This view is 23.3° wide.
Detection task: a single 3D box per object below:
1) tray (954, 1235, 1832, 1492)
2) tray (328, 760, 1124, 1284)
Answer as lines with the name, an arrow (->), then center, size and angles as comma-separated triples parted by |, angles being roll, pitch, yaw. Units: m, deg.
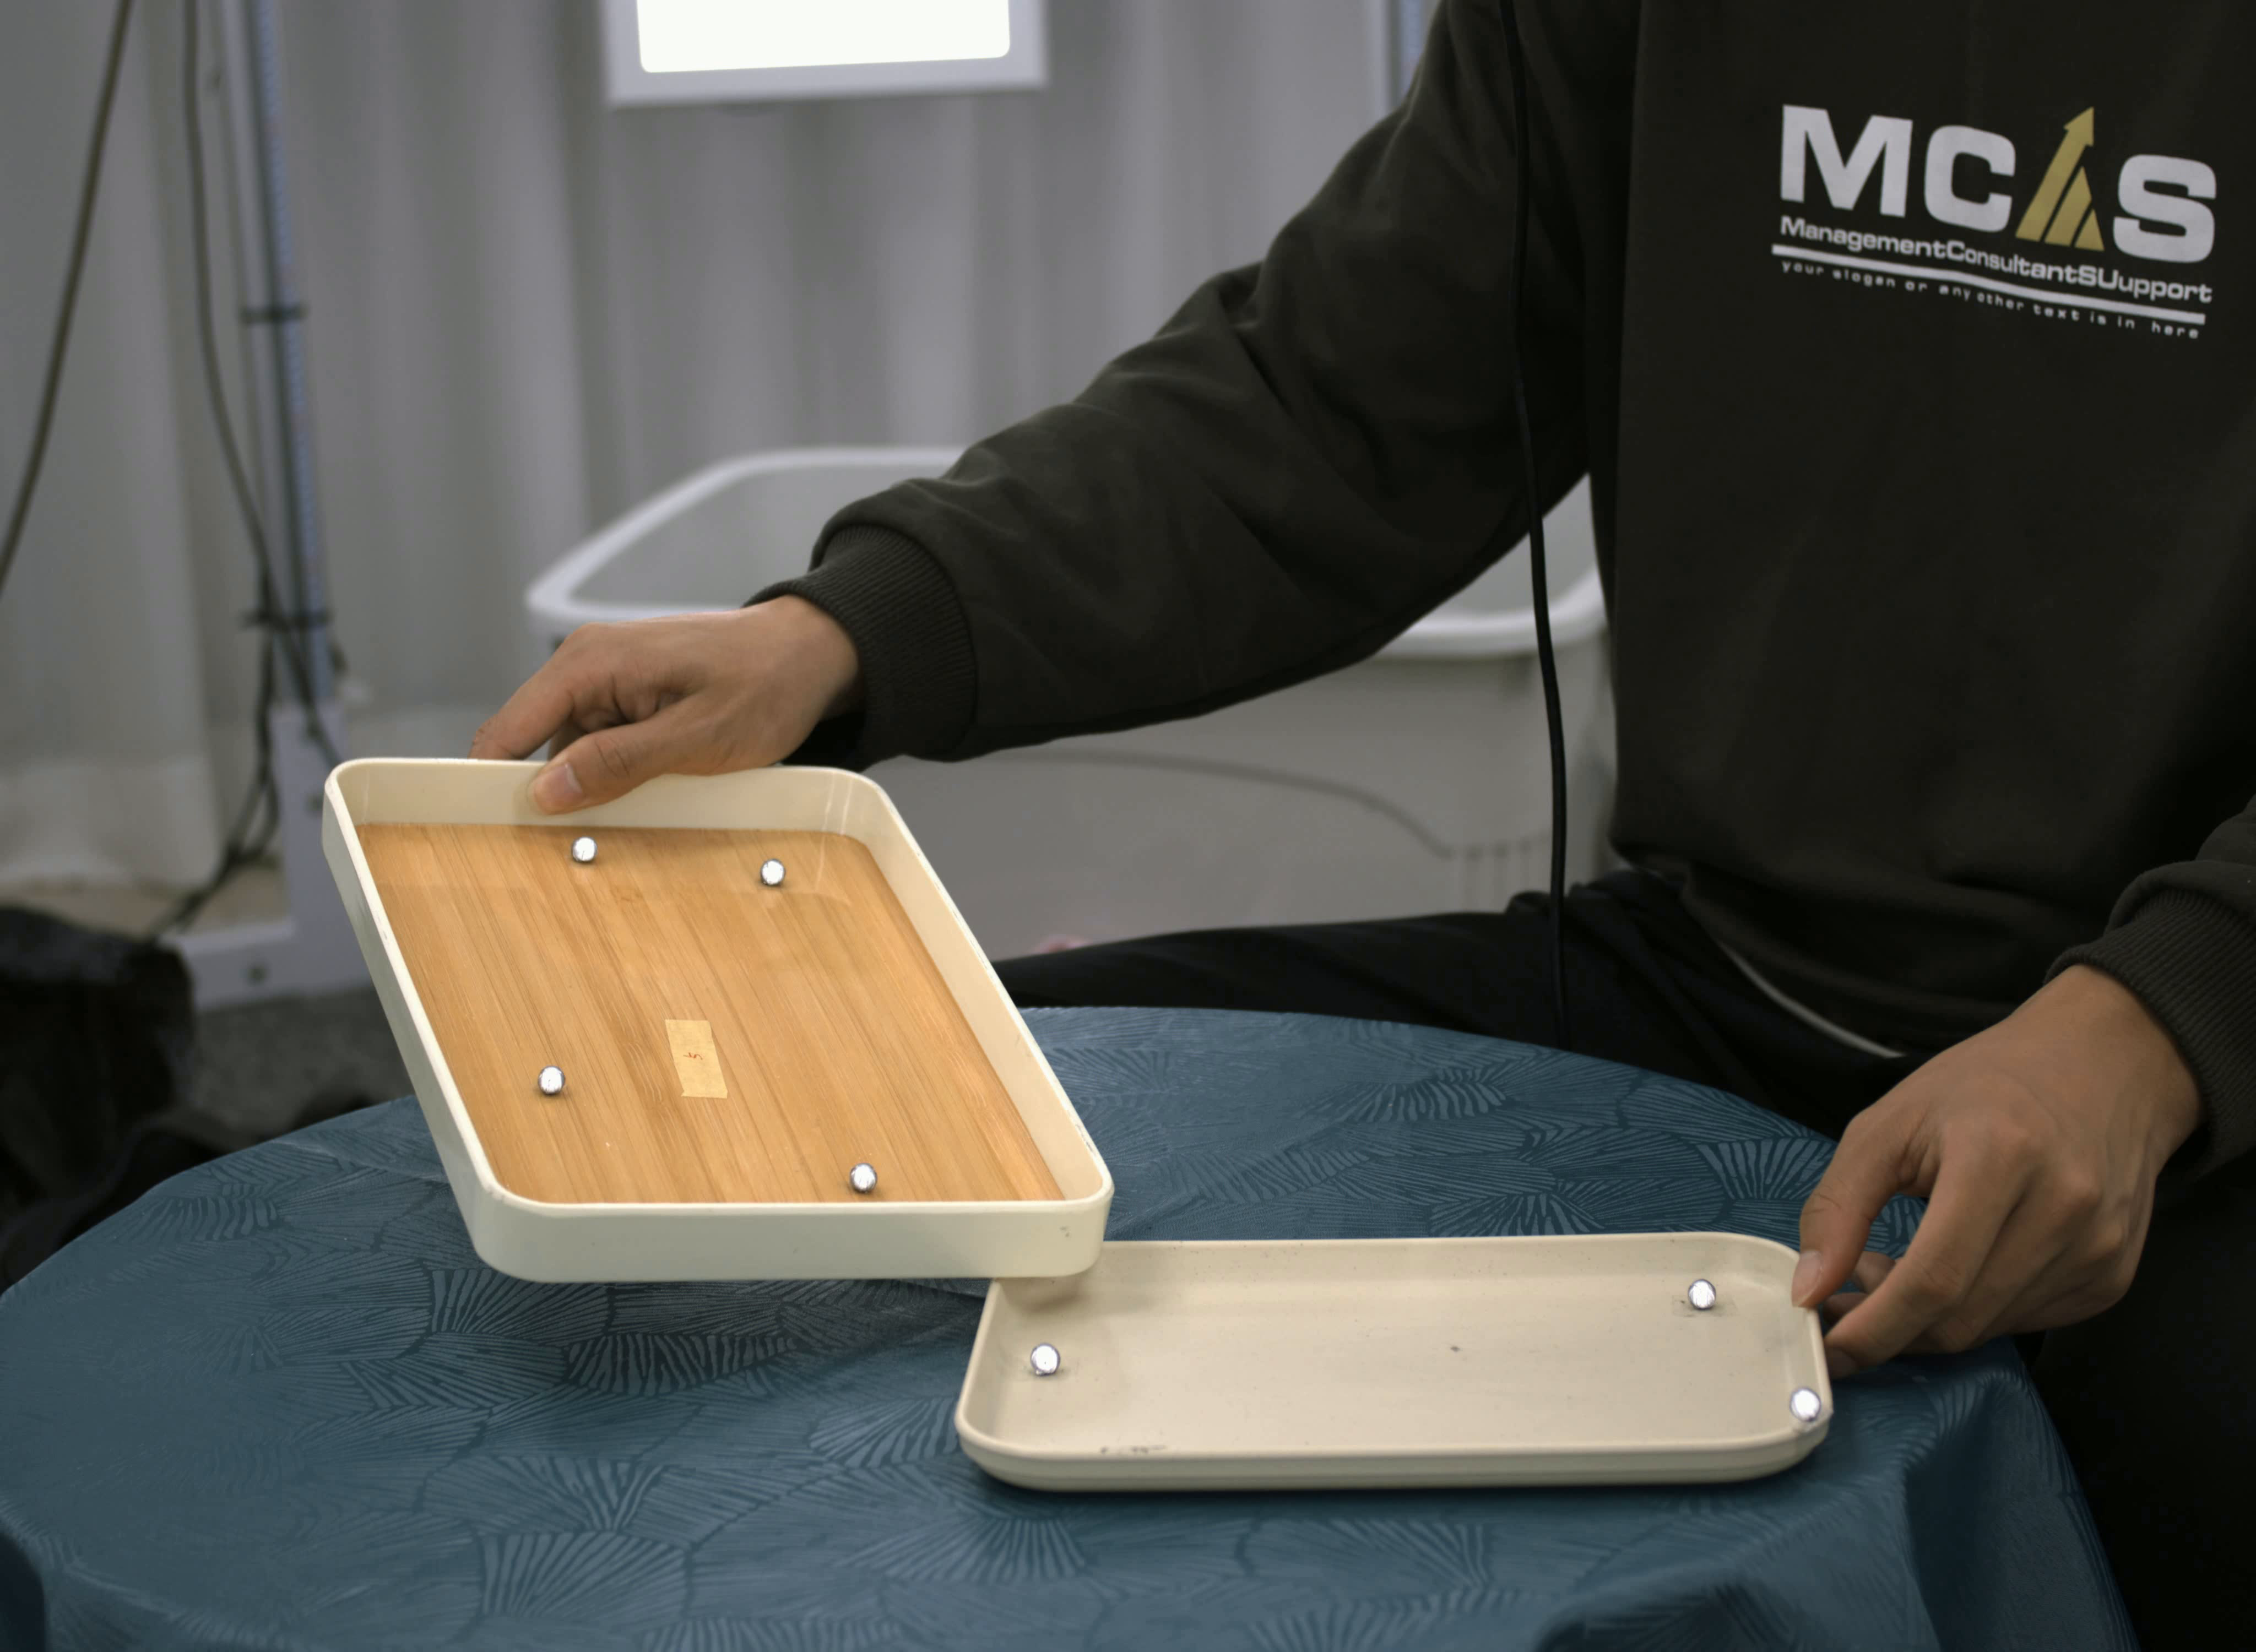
tray -> 0.074, 0.151, 1.535 | 0.239, 0.017, 0.172 | -1, 14, 4
tray -> -0.131, 0.056, 1.696 | 0.190, 0.027, 0.304 | 1, 25, -19
